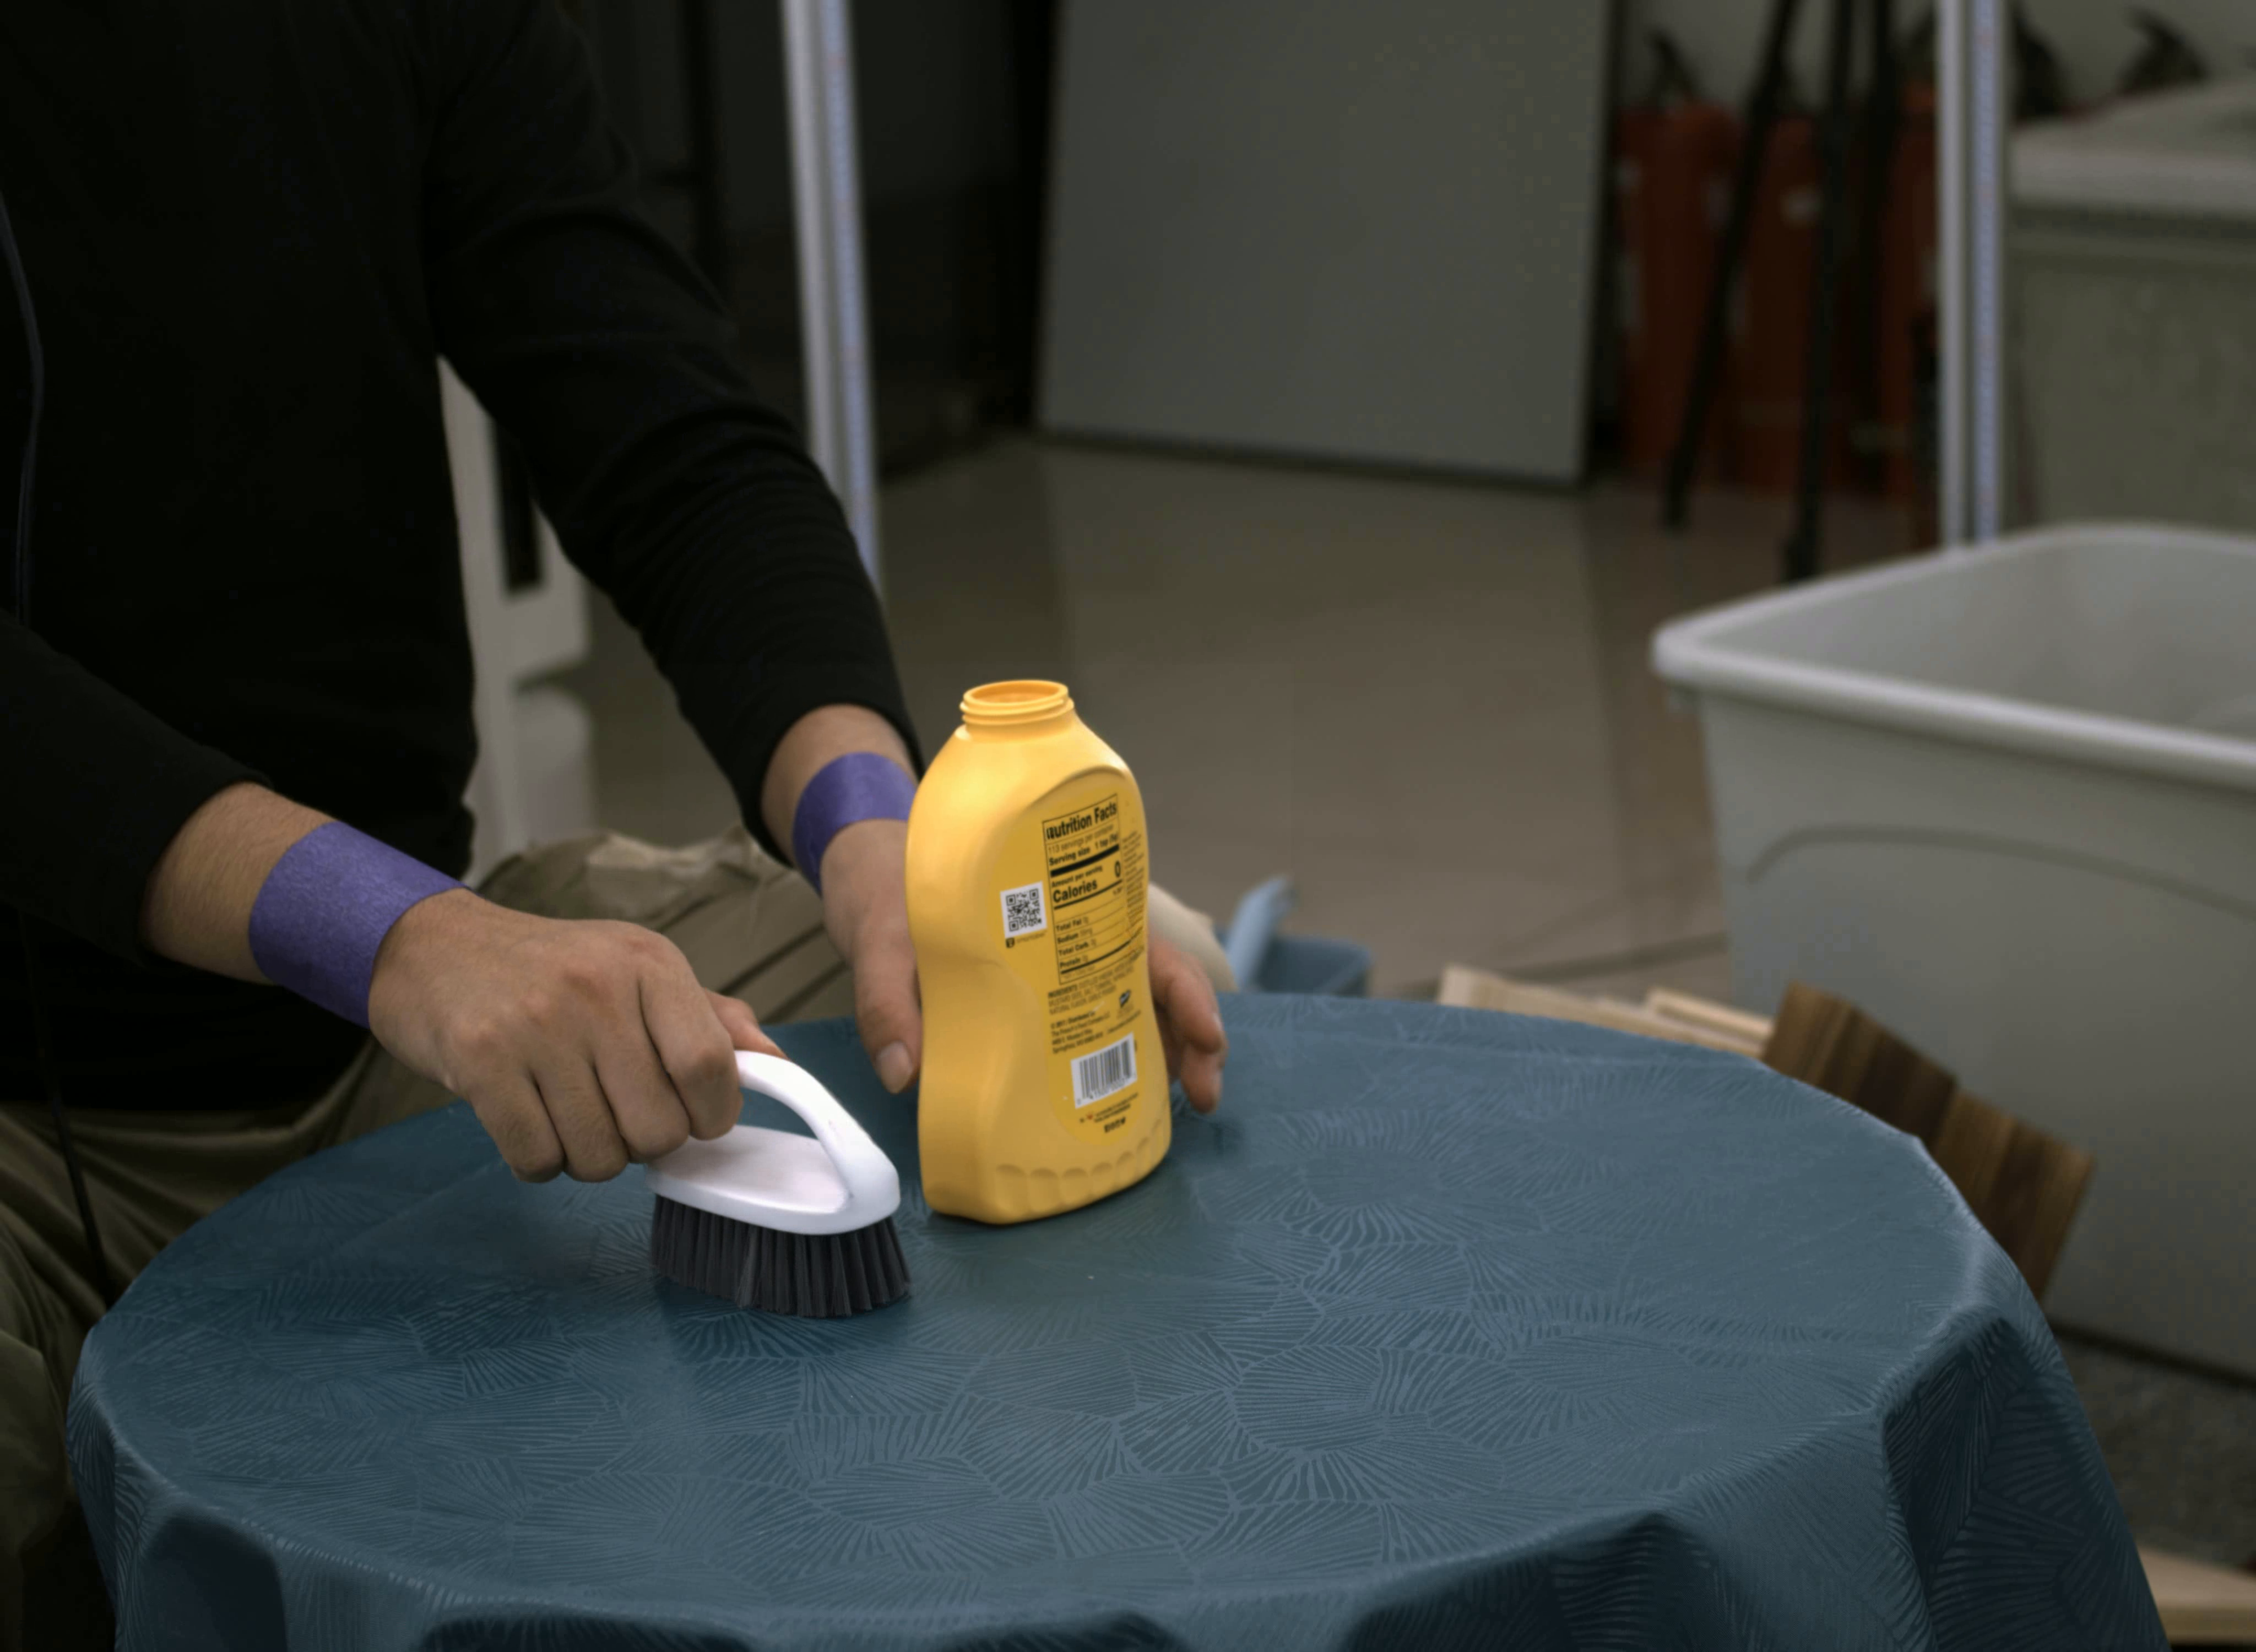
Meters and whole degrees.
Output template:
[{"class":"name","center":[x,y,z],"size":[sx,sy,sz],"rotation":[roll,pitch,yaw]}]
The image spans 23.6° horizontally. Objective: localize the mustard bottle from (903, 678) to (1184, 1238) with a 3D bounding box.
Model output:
[{"class":"mustard bottle","center":[-0.030,0.040,1.754],"size":[0.060,0.174,0.096],"rotation":[1,14,38]}]

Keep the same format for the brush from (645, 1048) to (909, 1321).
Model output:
[{"class":"brush","center":[-0.112,0.107,1.692],"size":[0.049,0.073,0.100],"rotation":[-18,21,-40]}]
